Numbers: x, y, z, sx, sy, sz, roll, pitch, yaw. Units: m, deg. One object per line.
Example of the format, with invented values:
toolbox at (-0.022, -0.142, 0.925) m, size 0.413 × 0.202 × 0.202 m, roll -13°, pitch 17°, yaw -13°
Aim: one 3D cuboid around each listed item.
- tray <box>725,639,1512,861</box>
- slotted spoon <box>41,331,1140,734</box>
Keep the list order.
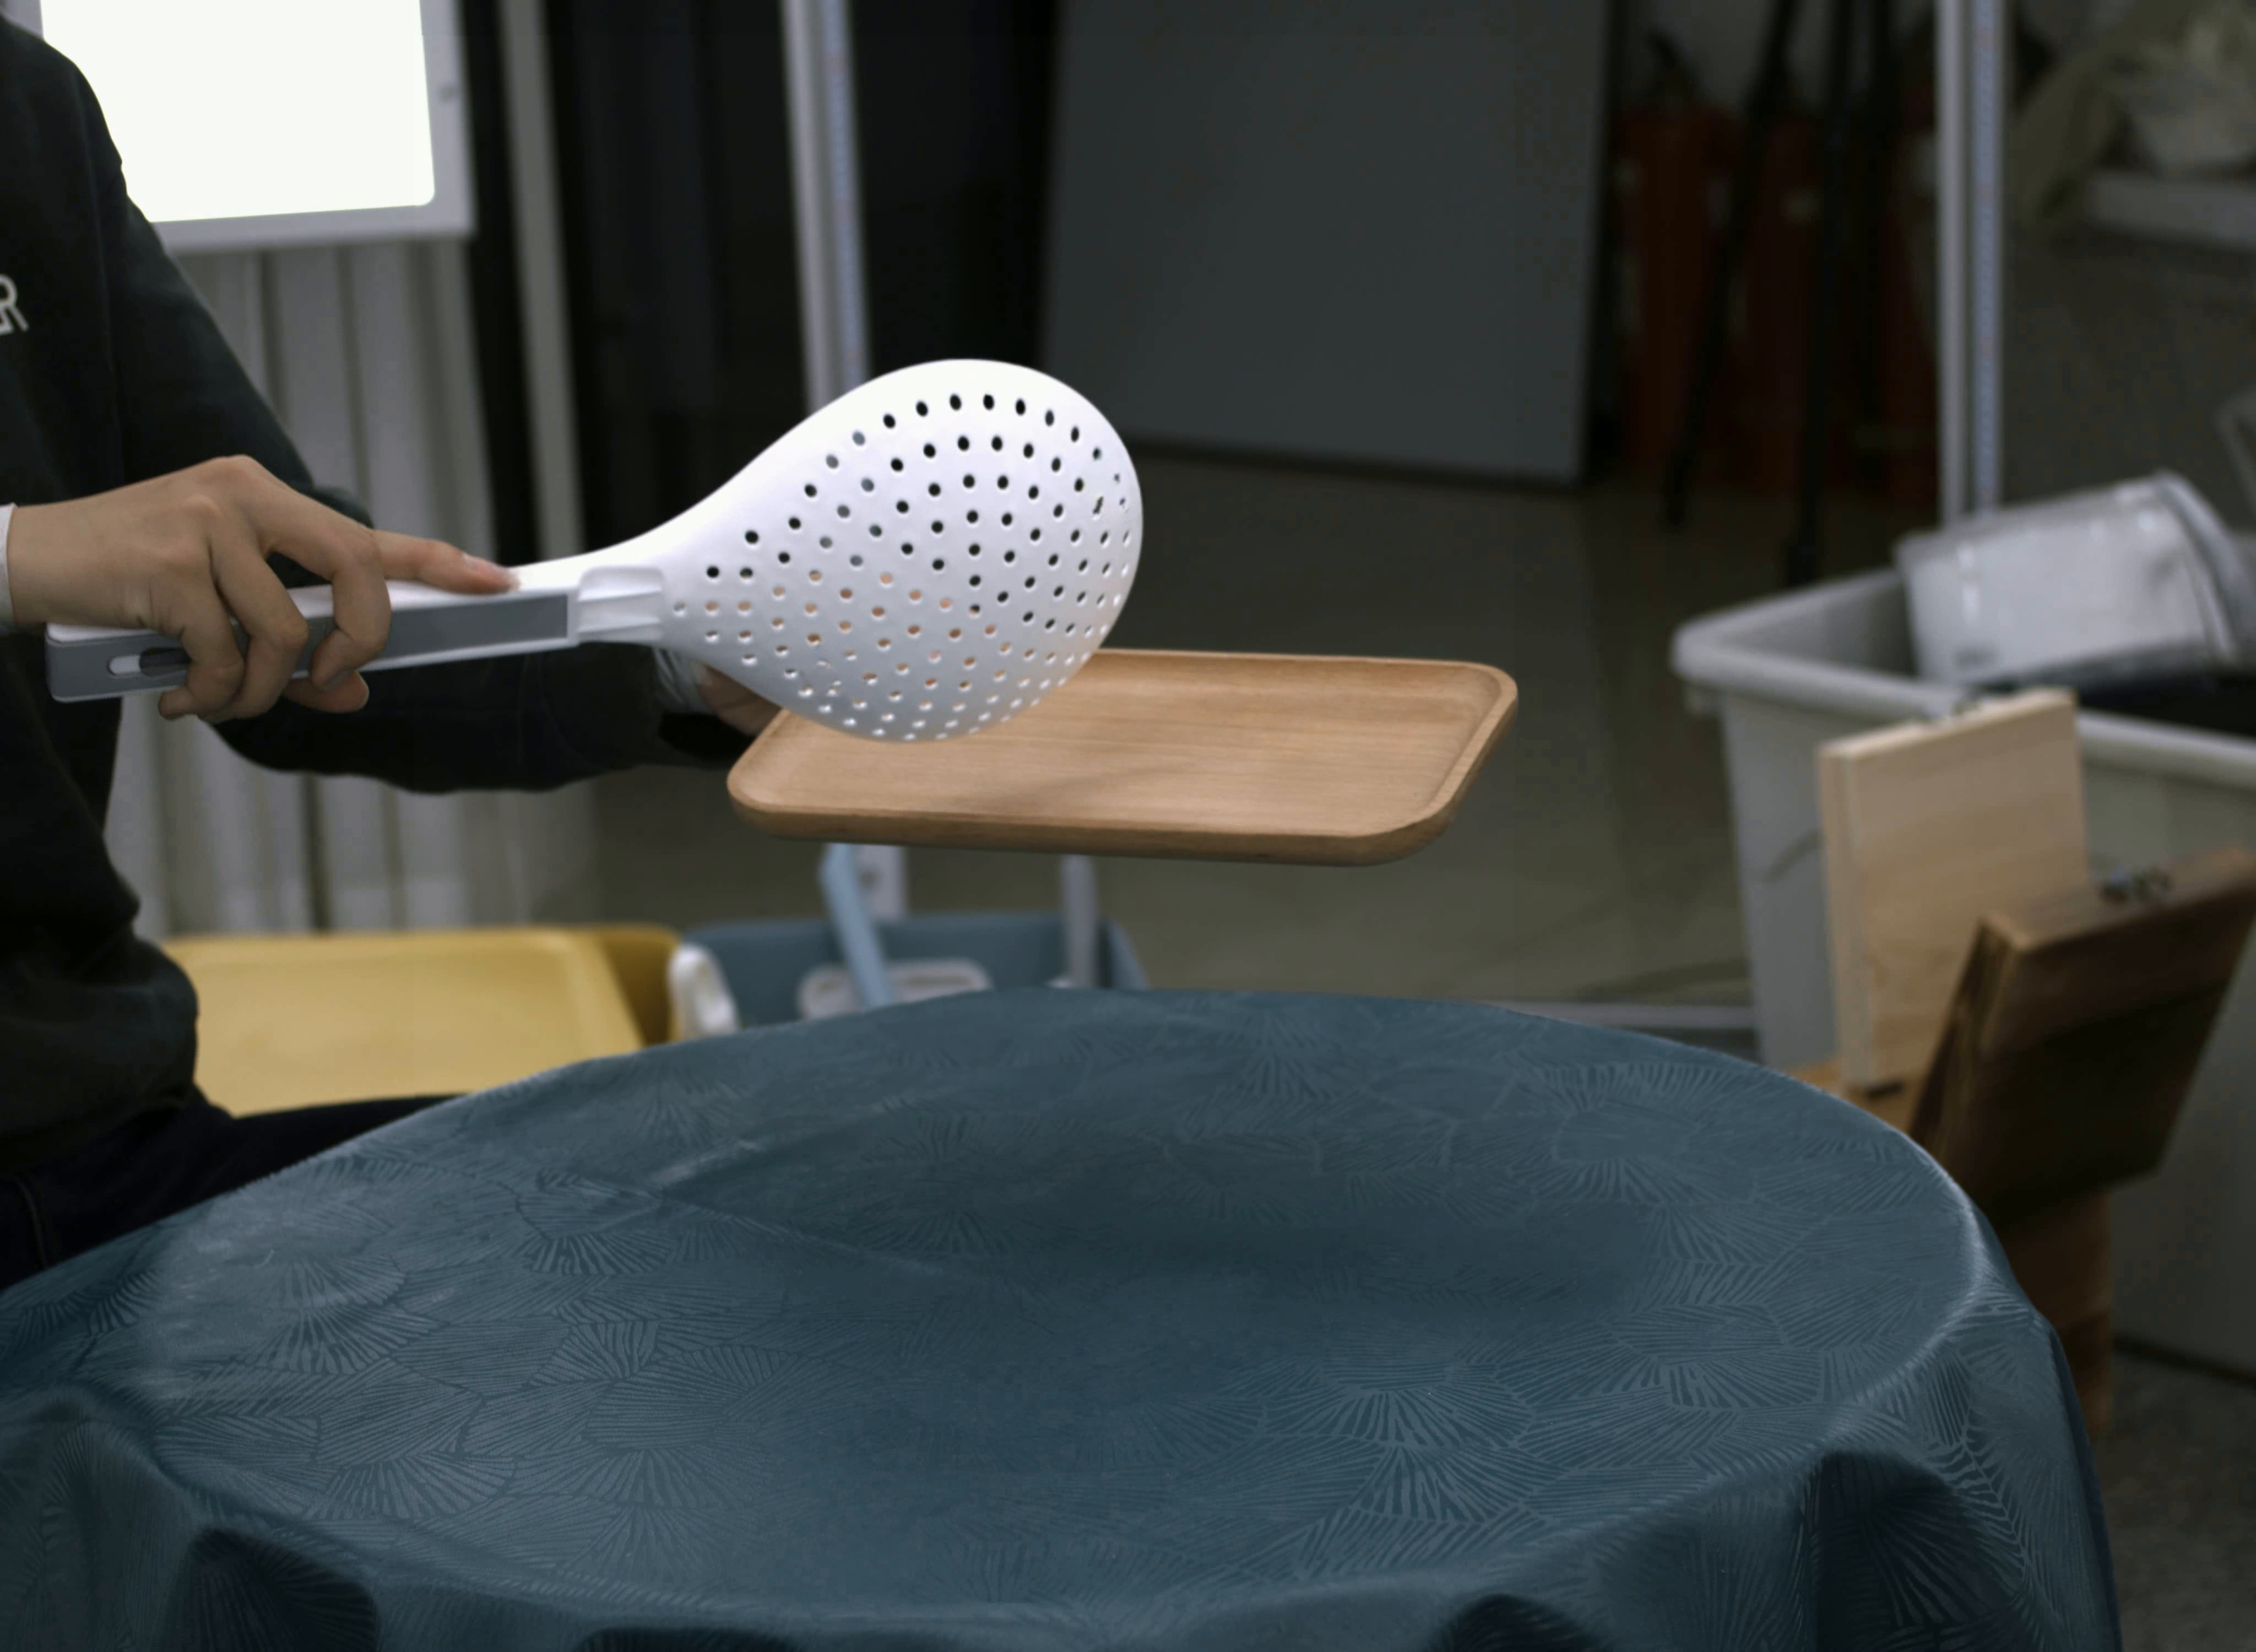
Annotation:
tray at (-0.003, -0.026, 1.759) m, size 0.251 × 0.023 × 0.129 m, roll 1°, pitch 26°, yaw 23°
slotted spoon at (-0.159, -0.075, 1.666) m, size 0.343 × 0.137 × 0.046 m, roll -5°, pitch 28°, yaw -12°
